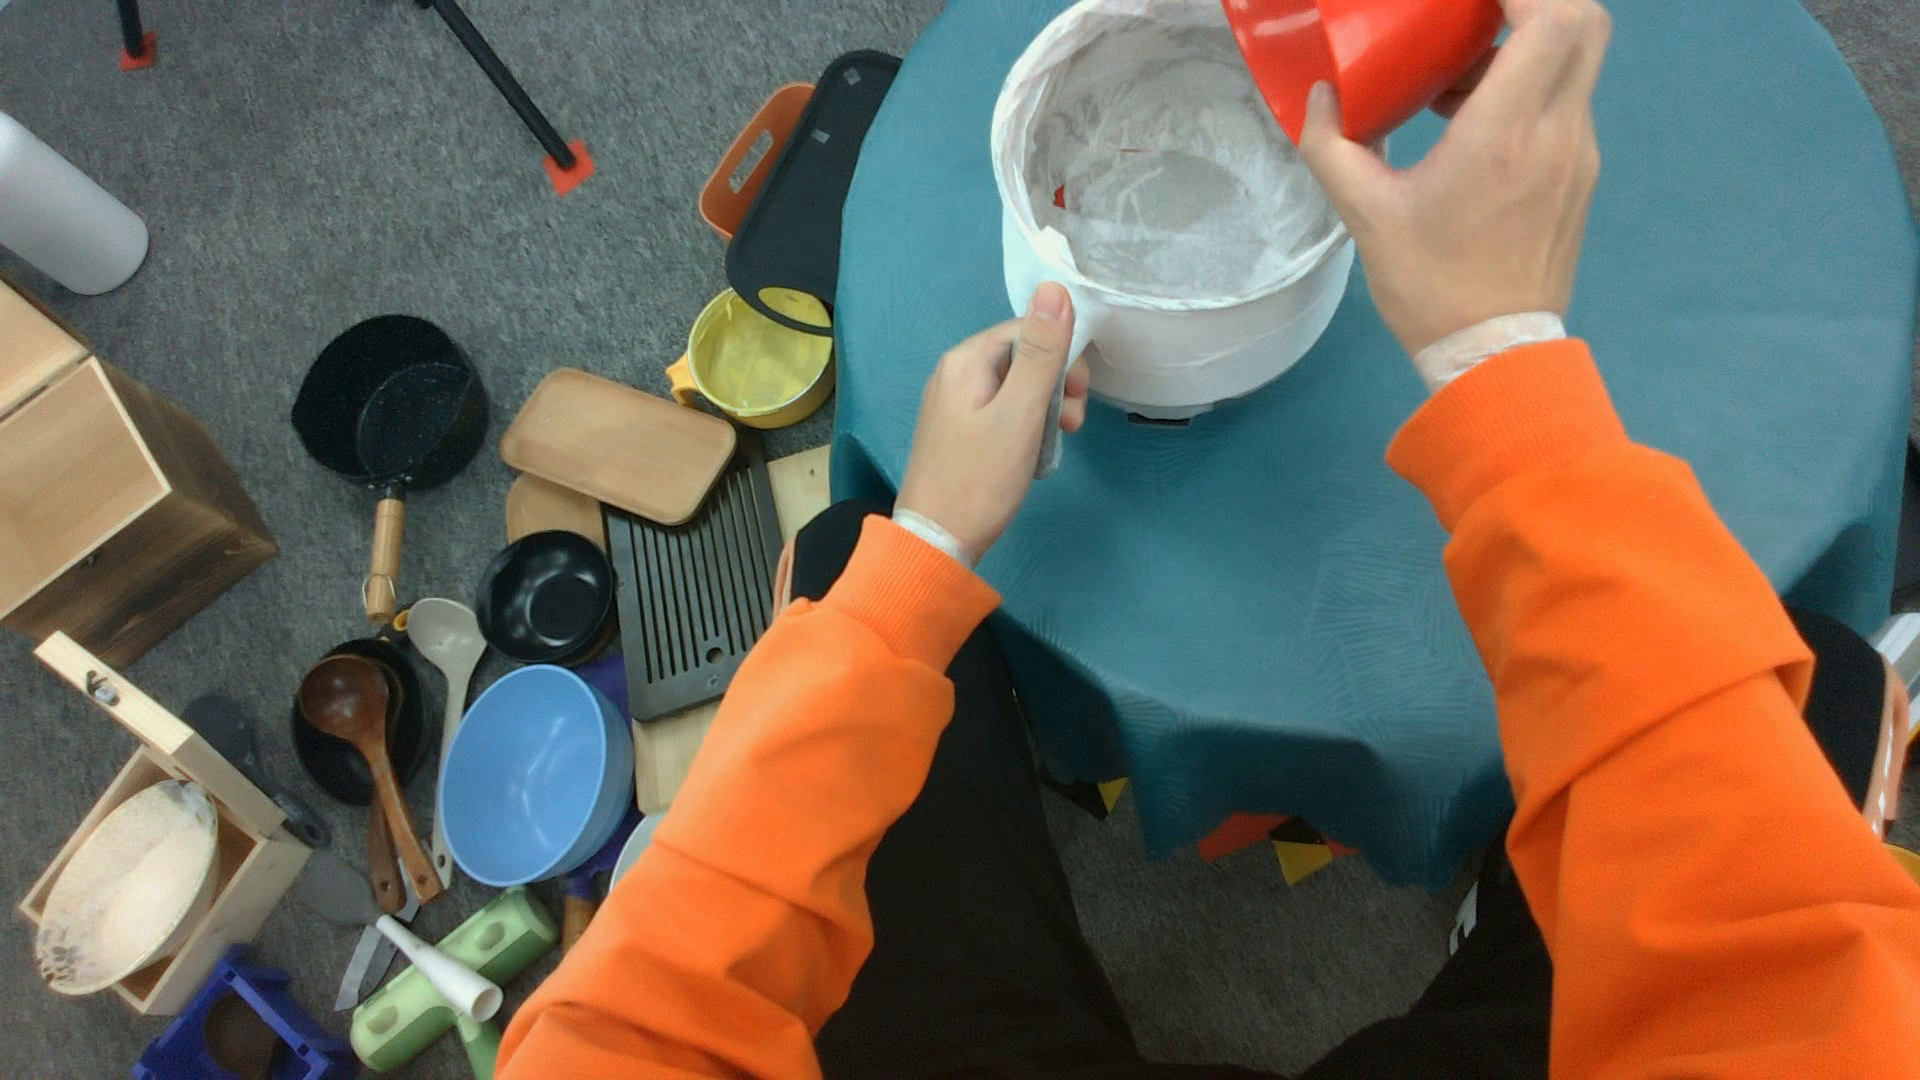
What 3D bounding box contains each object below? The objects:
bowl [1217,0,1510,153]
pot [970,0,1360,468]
[{"bbox_3d":[0.163,-0.243,0.568,0.104,0.148,0.148,-18,68,10],"label":"bowl"},{"bbox_3d":[0.082,-0.145,0.680,0.179,0.136,0.234,32,76,15],"label":"pot"}]
